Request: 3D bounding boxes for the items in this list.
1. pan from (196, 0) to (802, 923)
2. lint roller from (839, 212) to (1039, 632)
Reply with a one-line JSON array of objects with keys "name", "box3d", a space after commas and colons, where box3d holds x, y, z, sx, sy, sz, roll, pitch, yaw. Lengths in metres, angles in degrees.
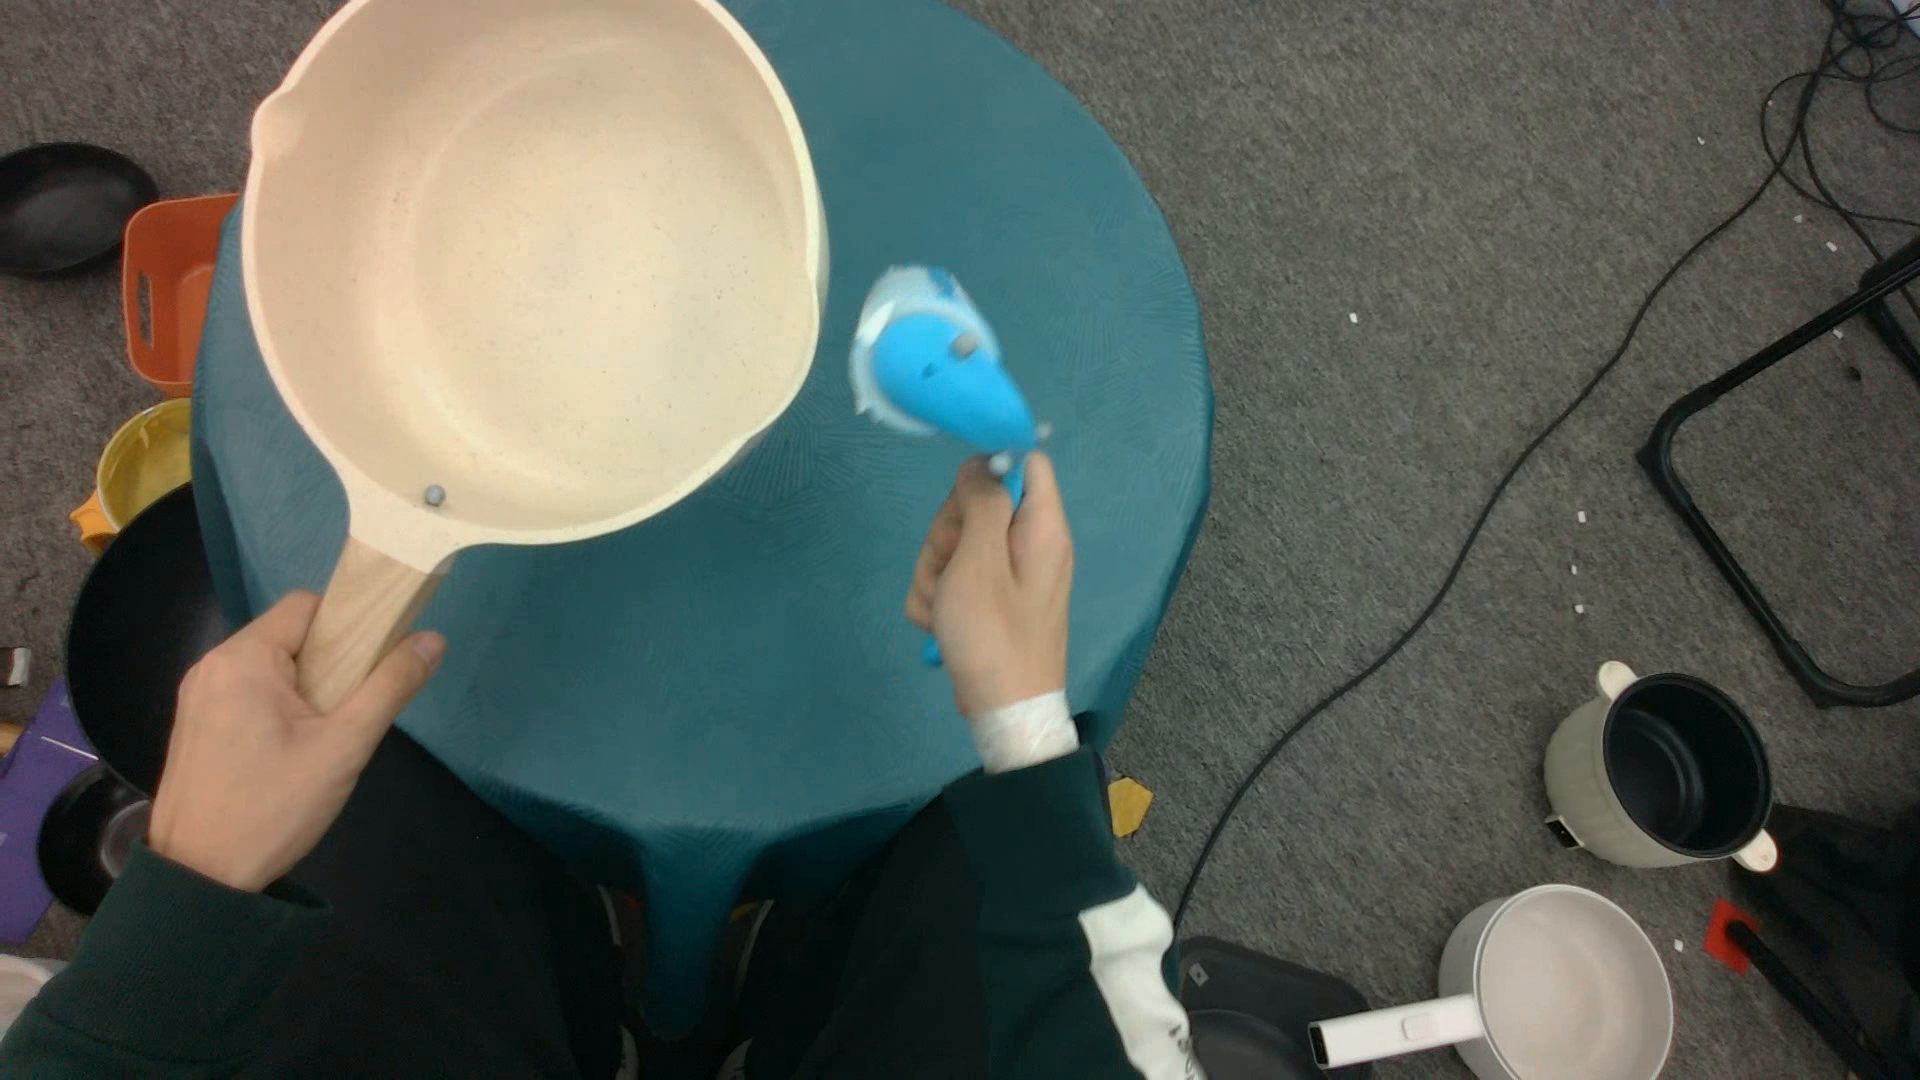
[{"name": "pan", "box3d": [-0.224, -0.043, 0.609, 0.263, 0.102, 0.434, 24, 94, 4]}, {"name": "lint roller", "box3d": [-0.008, -0.051, 0.599, 0.068, 0.229, 0.180, -13, 109, -5]}]
